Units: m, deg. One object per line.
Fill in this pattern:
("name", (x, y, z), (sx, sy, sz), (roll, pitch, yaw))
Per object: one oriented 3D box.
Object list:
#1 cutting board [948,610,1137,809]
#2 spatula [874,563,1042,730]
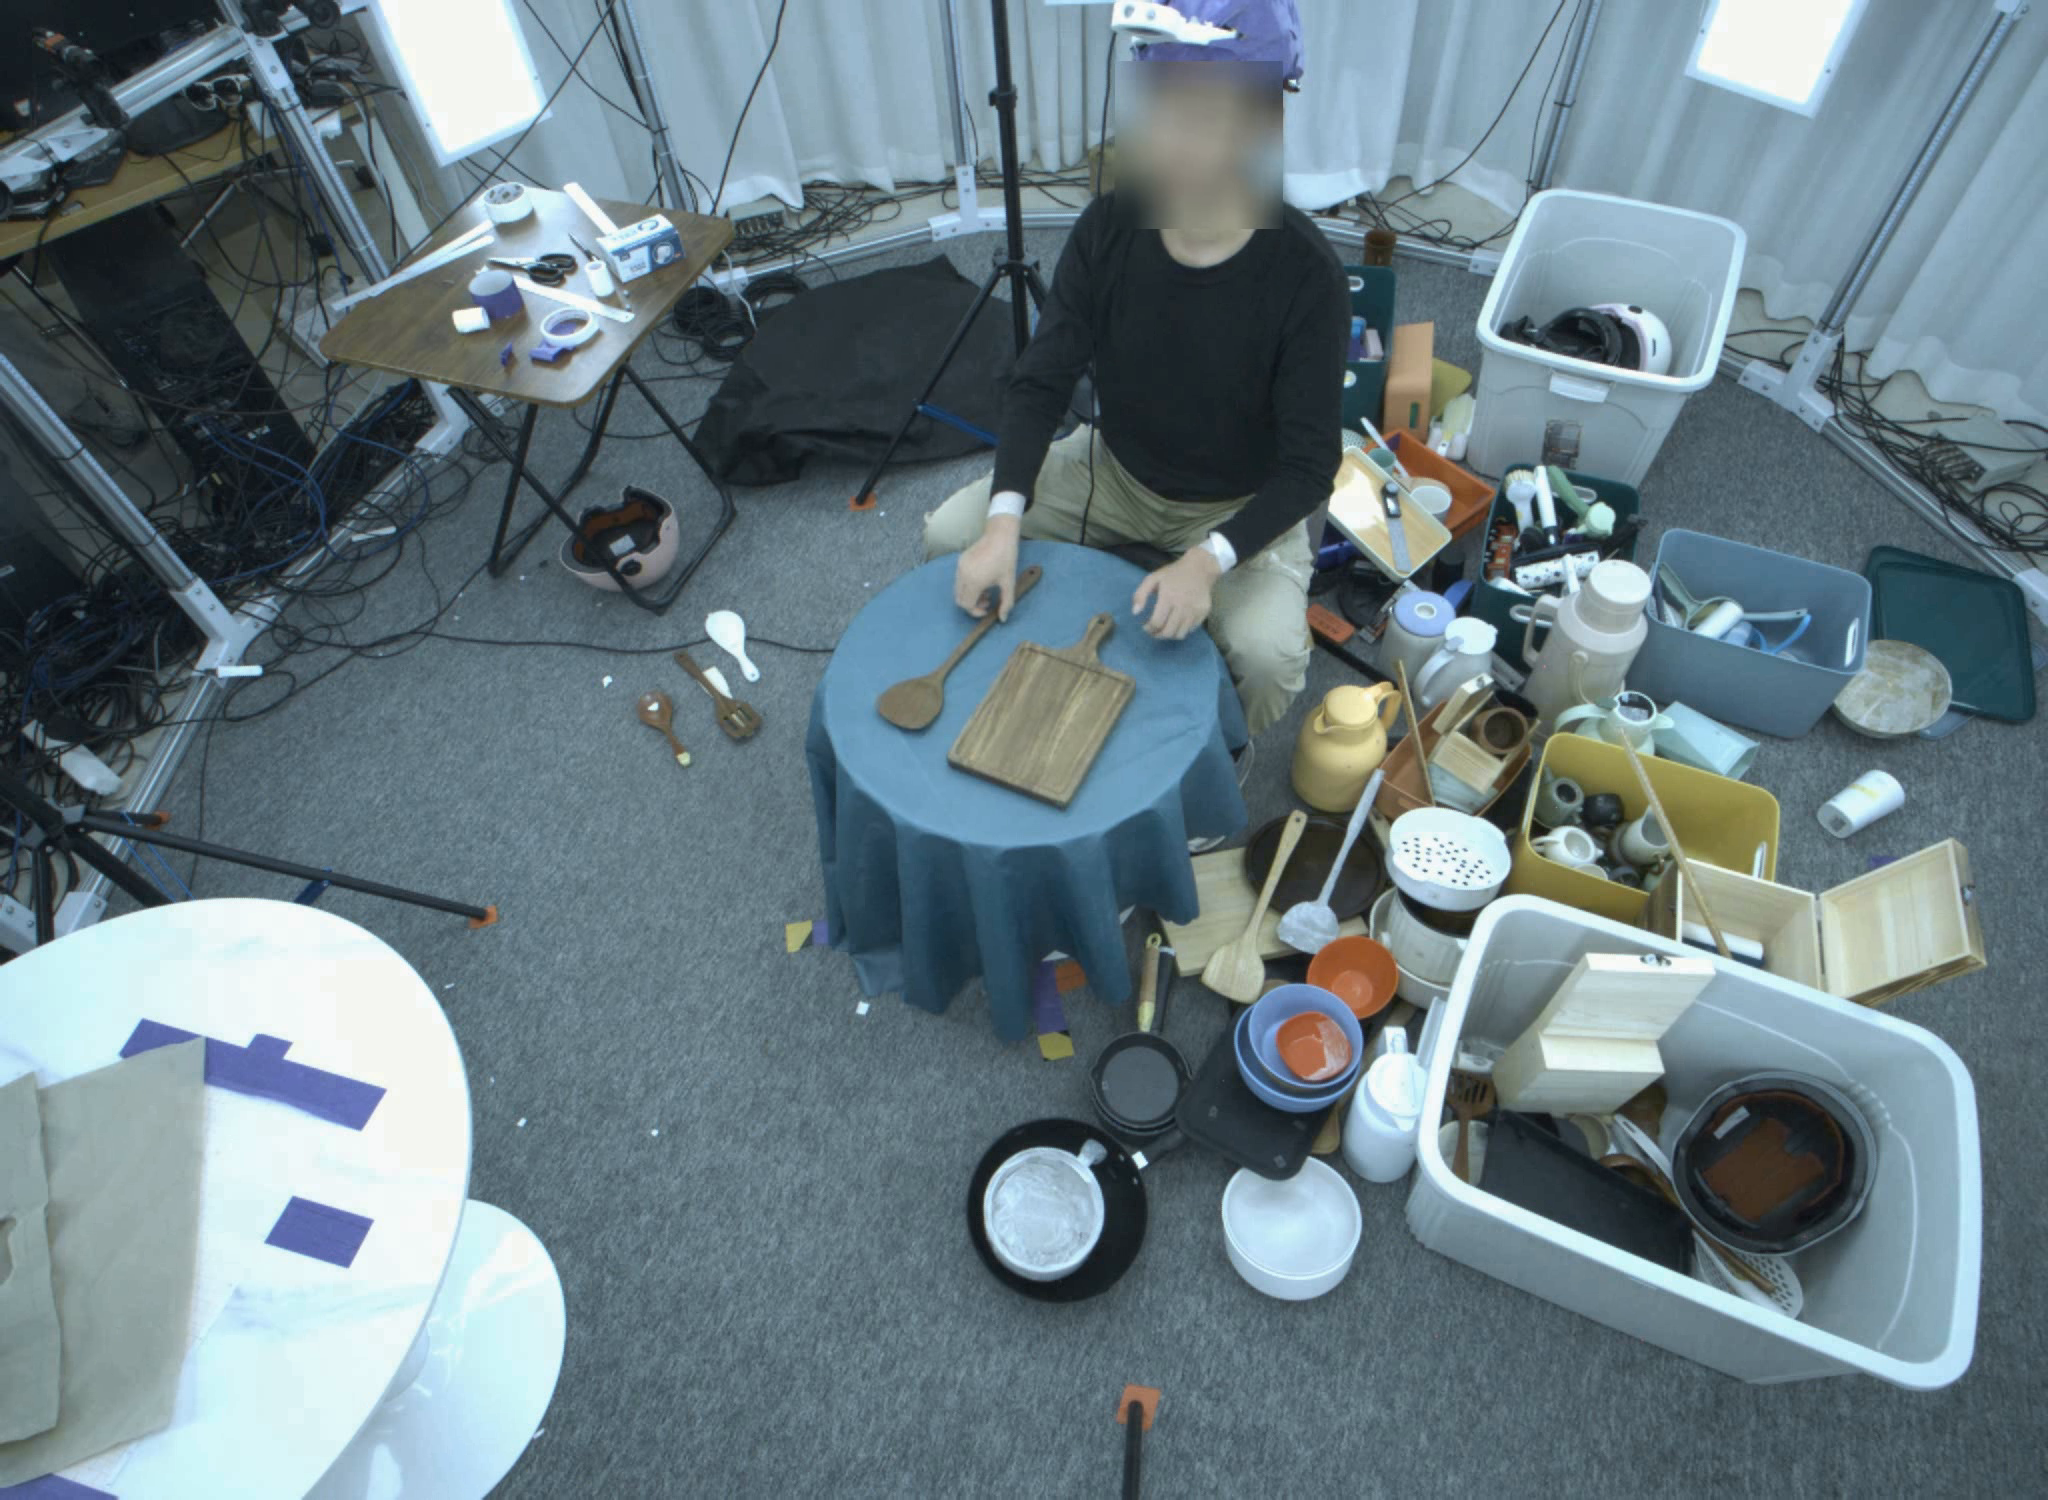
("cutting board", (0.051, -0.080, 1.830), (0.198, 0.023, 0.352), (21, 58, 16))
("spatula", (-0.086, -0.171, 1.902), (0.094, 0.016, 0.387), (29, 60, 20))
